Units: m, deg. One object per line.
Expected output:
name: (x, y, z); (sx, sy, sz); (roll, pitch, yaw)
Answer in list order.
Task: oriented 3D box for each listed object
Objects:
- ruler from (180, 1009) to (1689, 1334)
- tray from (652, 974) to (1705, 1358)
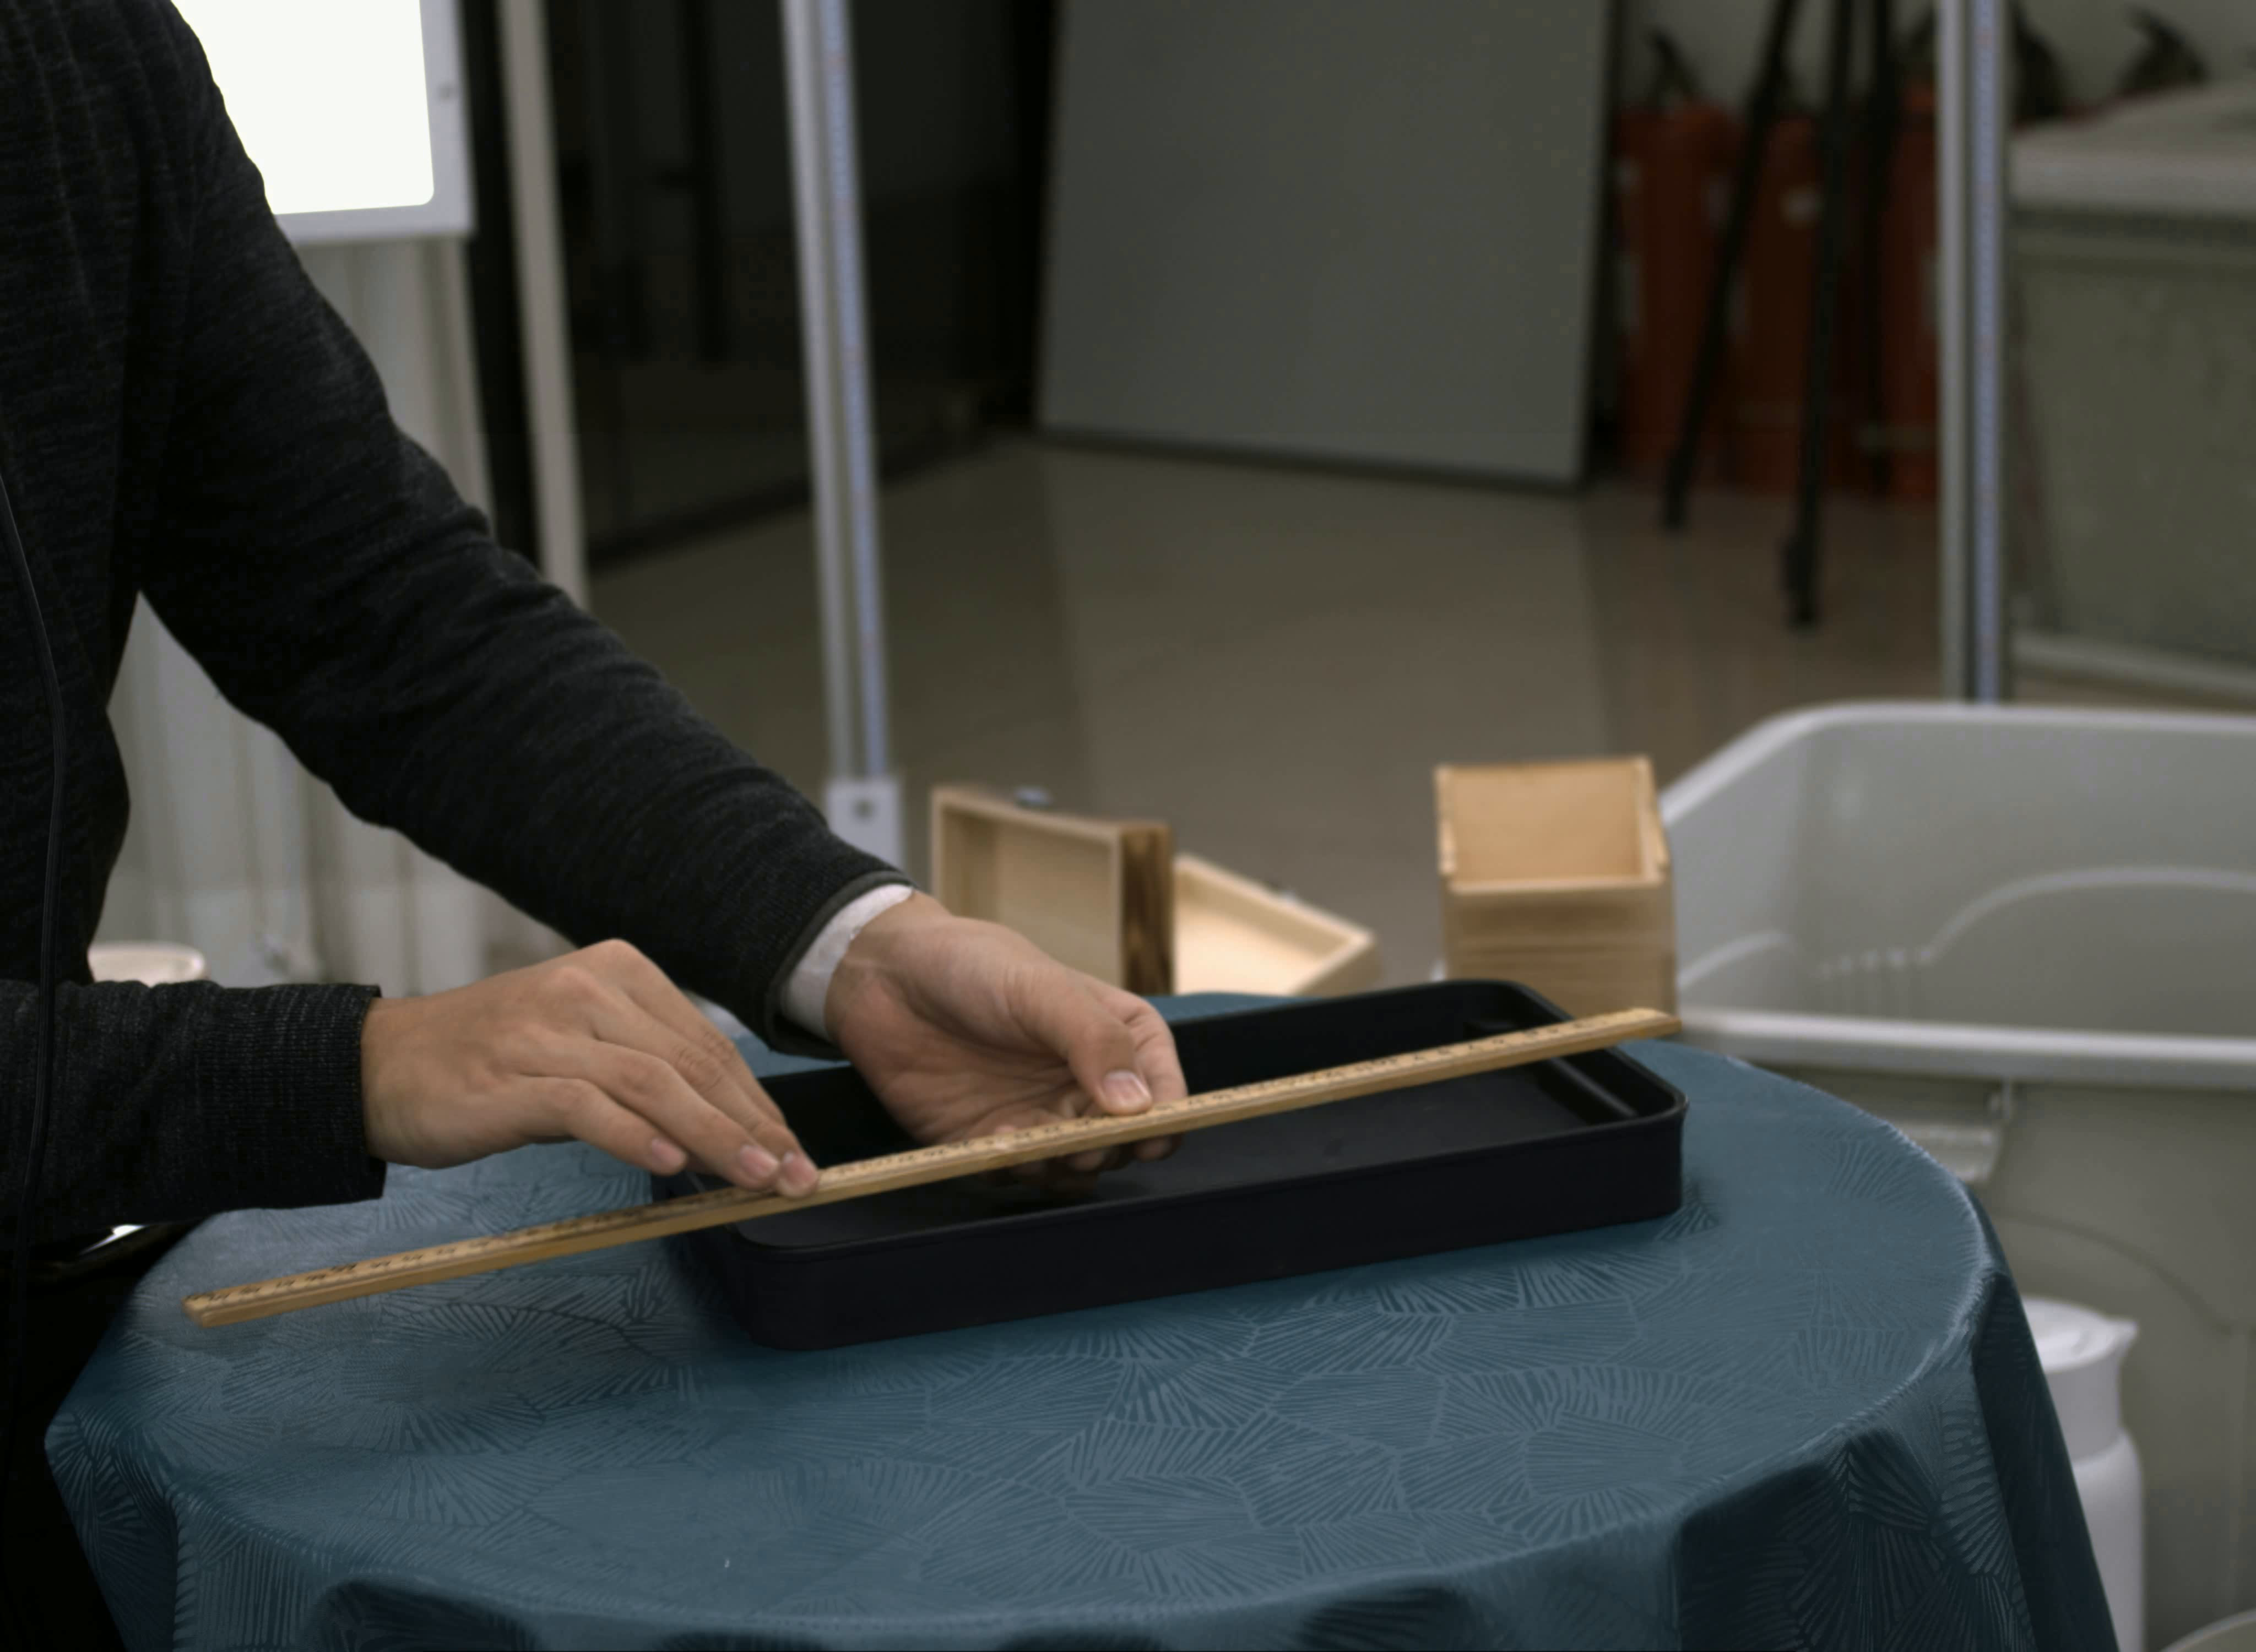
ruler: (-0.049, 0.103, 1.665); (0.490, 0.006, 0.027); (-10, 9, -21)
tray: (0.015, 0.106, 1.752); (0.312, 0.037, 0.186); (-9, 14, -16)
